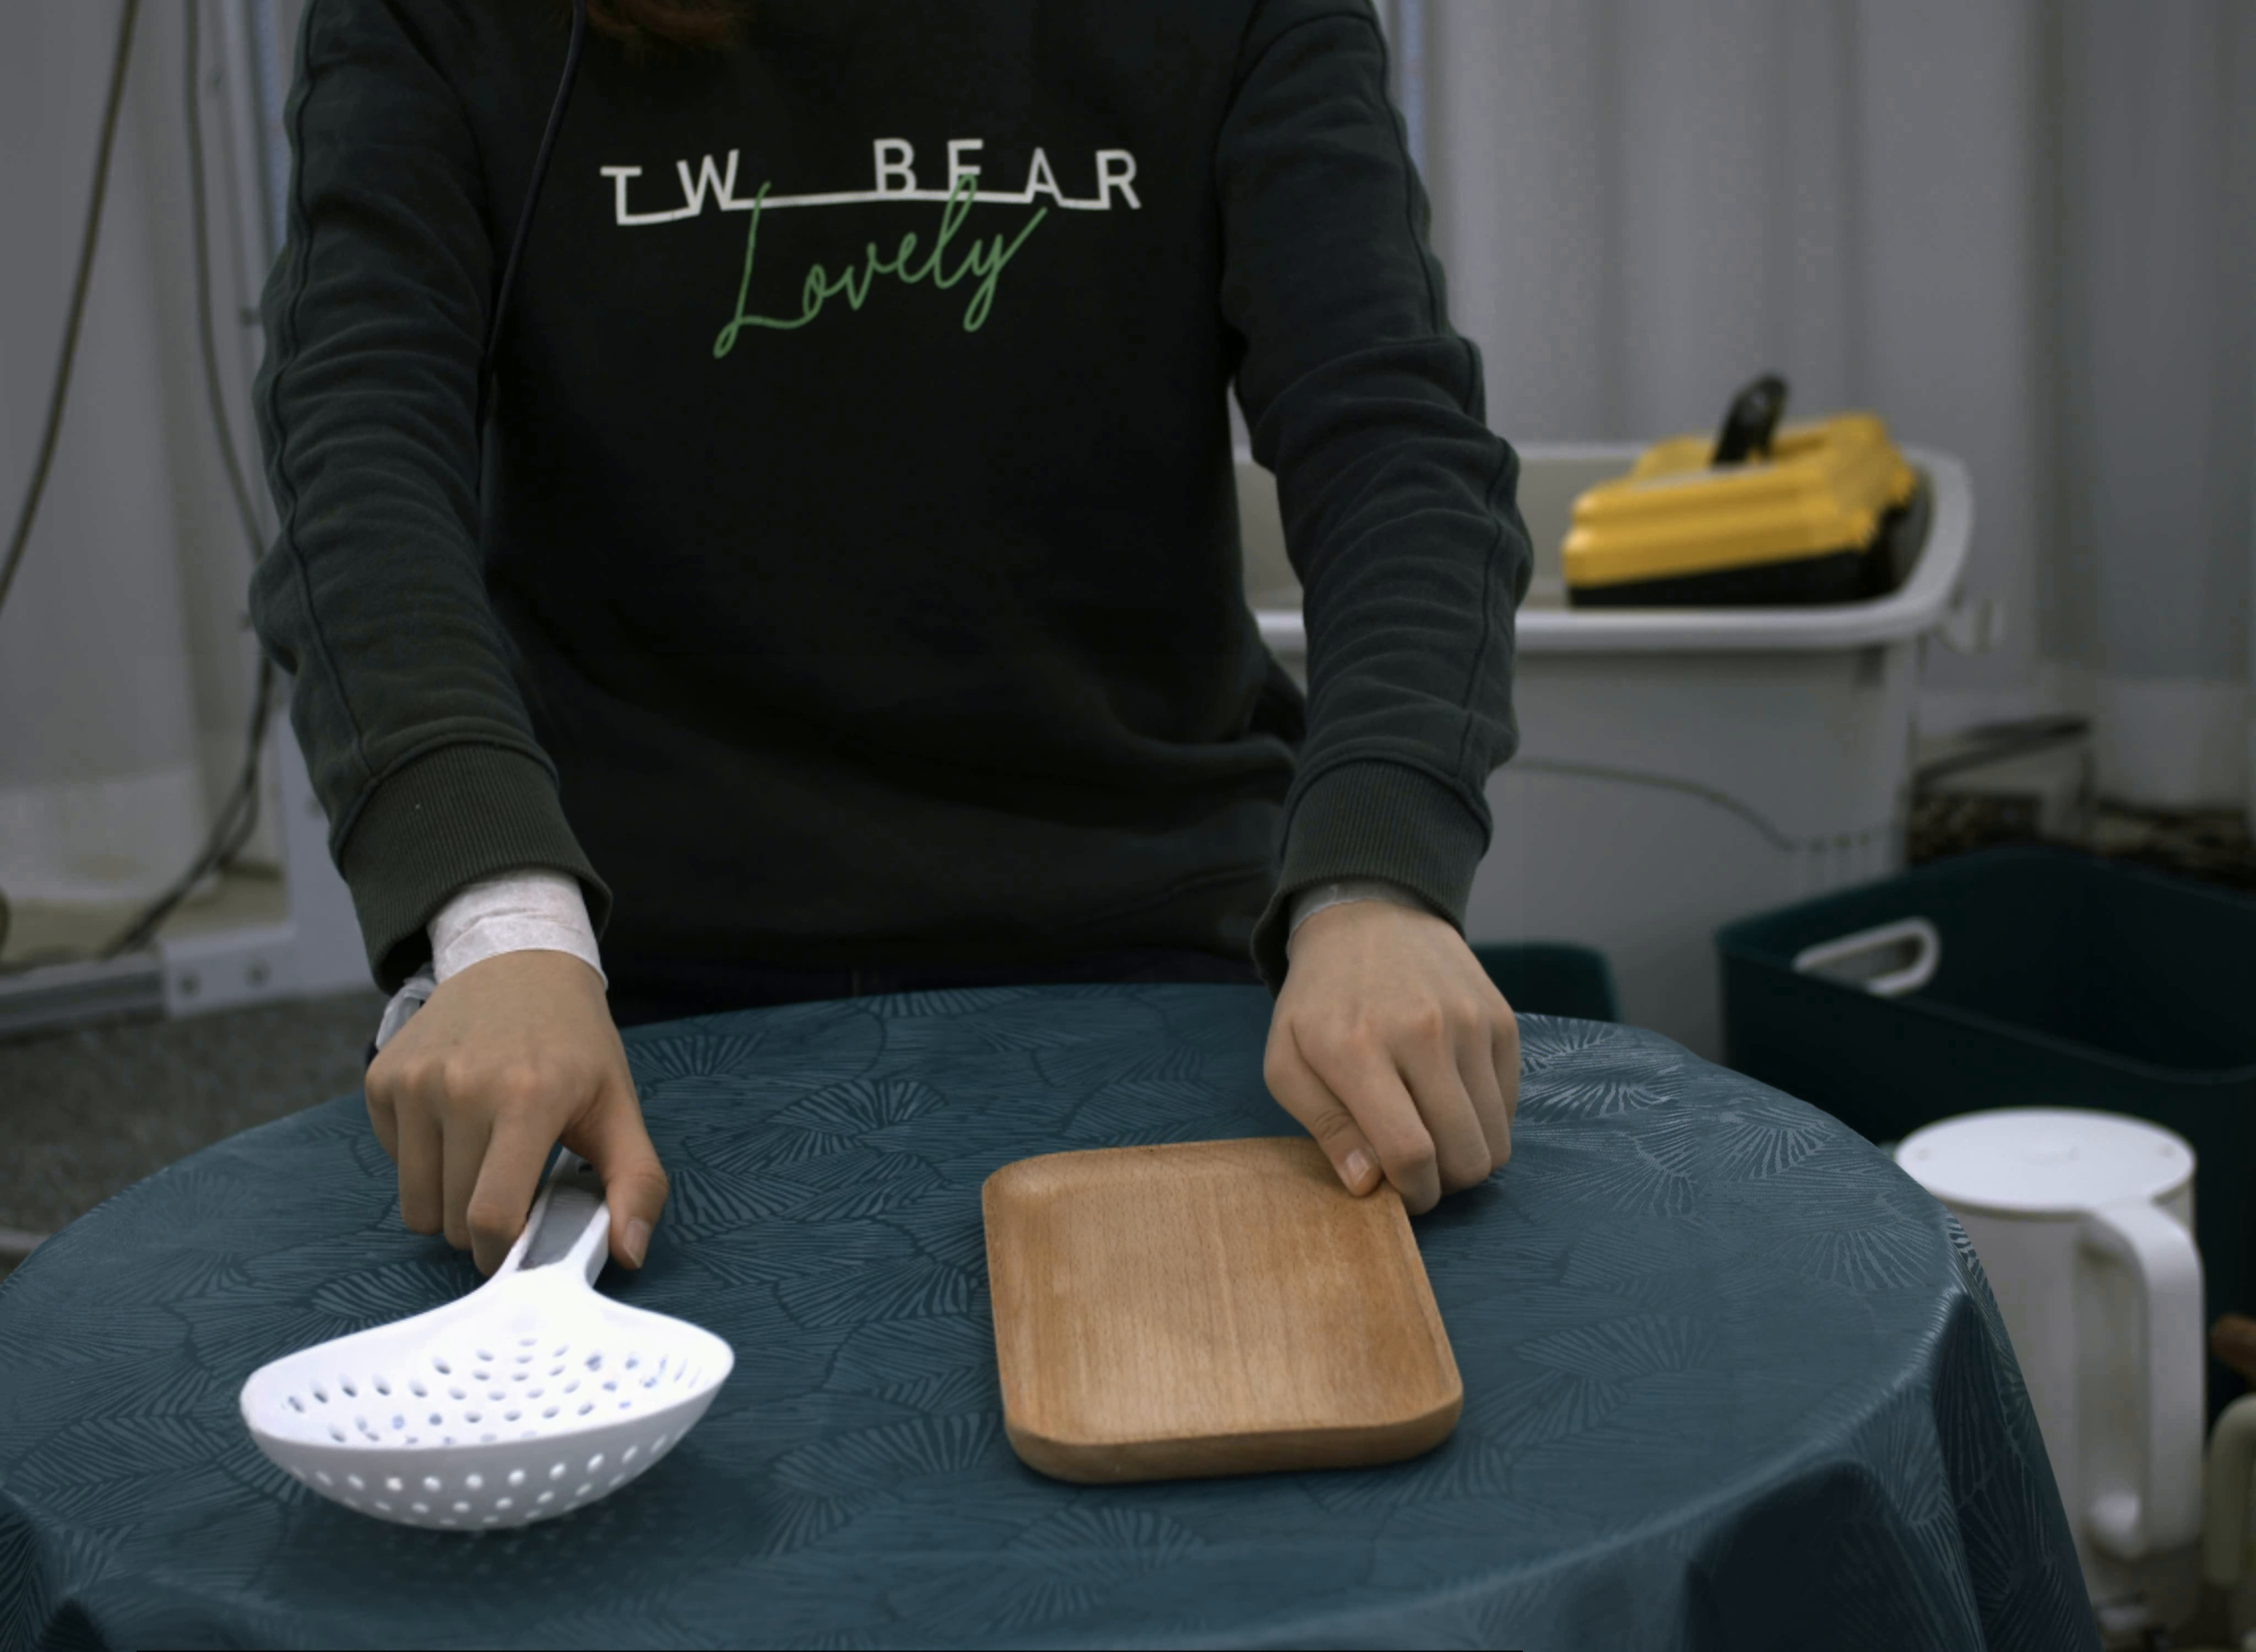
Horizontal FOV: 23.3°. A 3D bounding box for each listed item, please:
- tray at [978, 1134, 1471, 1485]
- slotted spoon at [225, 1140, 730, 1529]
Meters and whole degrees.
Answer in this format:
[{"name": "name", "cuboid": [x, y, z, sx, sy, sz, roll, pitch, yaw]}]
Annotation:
[{"name": "tray", "cuboid": [0.024, 0.138, 1.590, 0.130, 0.023, 0.252, -2, 14, -3]}, {"name": "slotted spoon", "cuboid": [-0.171, 0.137, 1.576, 0.135, 0.045, 0.352, -2, 14, 2]}]
